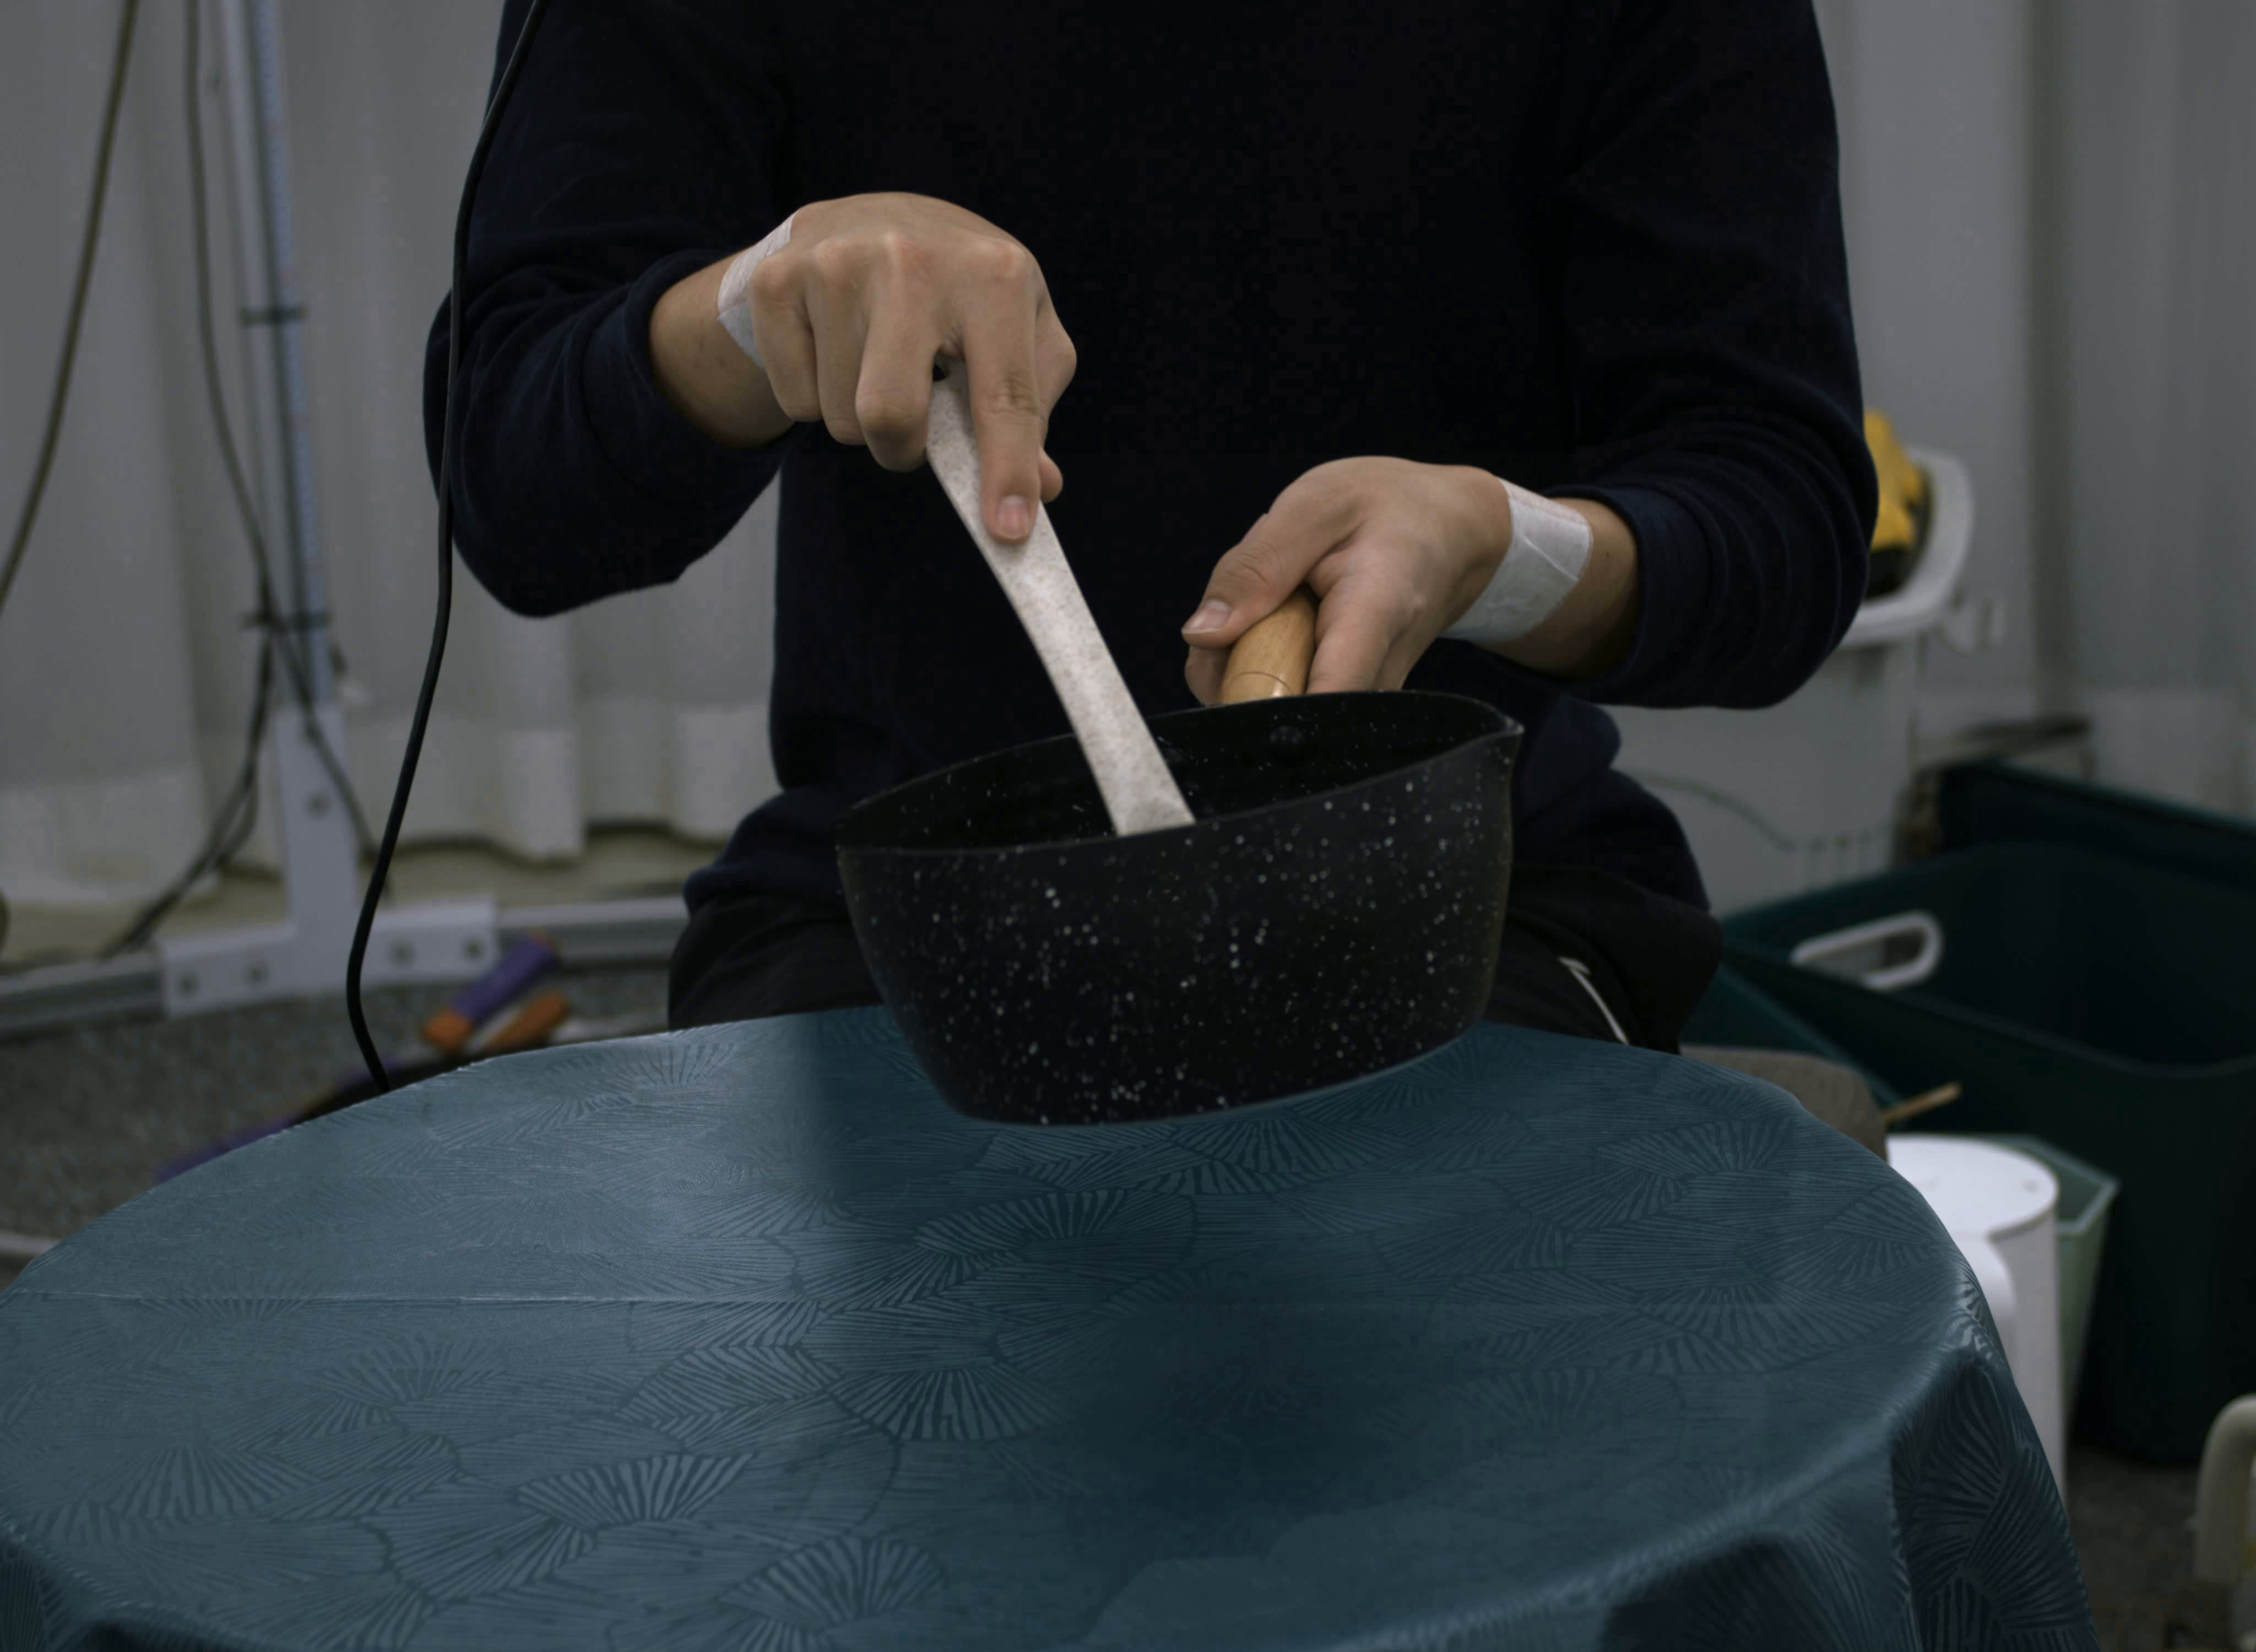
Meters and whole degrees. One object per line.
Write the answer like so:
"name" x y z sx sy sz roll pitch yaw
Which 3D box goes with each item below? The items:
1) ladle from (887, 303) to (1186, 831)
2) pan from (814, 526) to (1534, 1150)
"ladle" -0.010 -0.054 1.531 0.089 0.278 0.068 -17 -27 -15
"pan" 0.028 -0.003 1.576 0.207 0.108 0.344 -10 12 12
